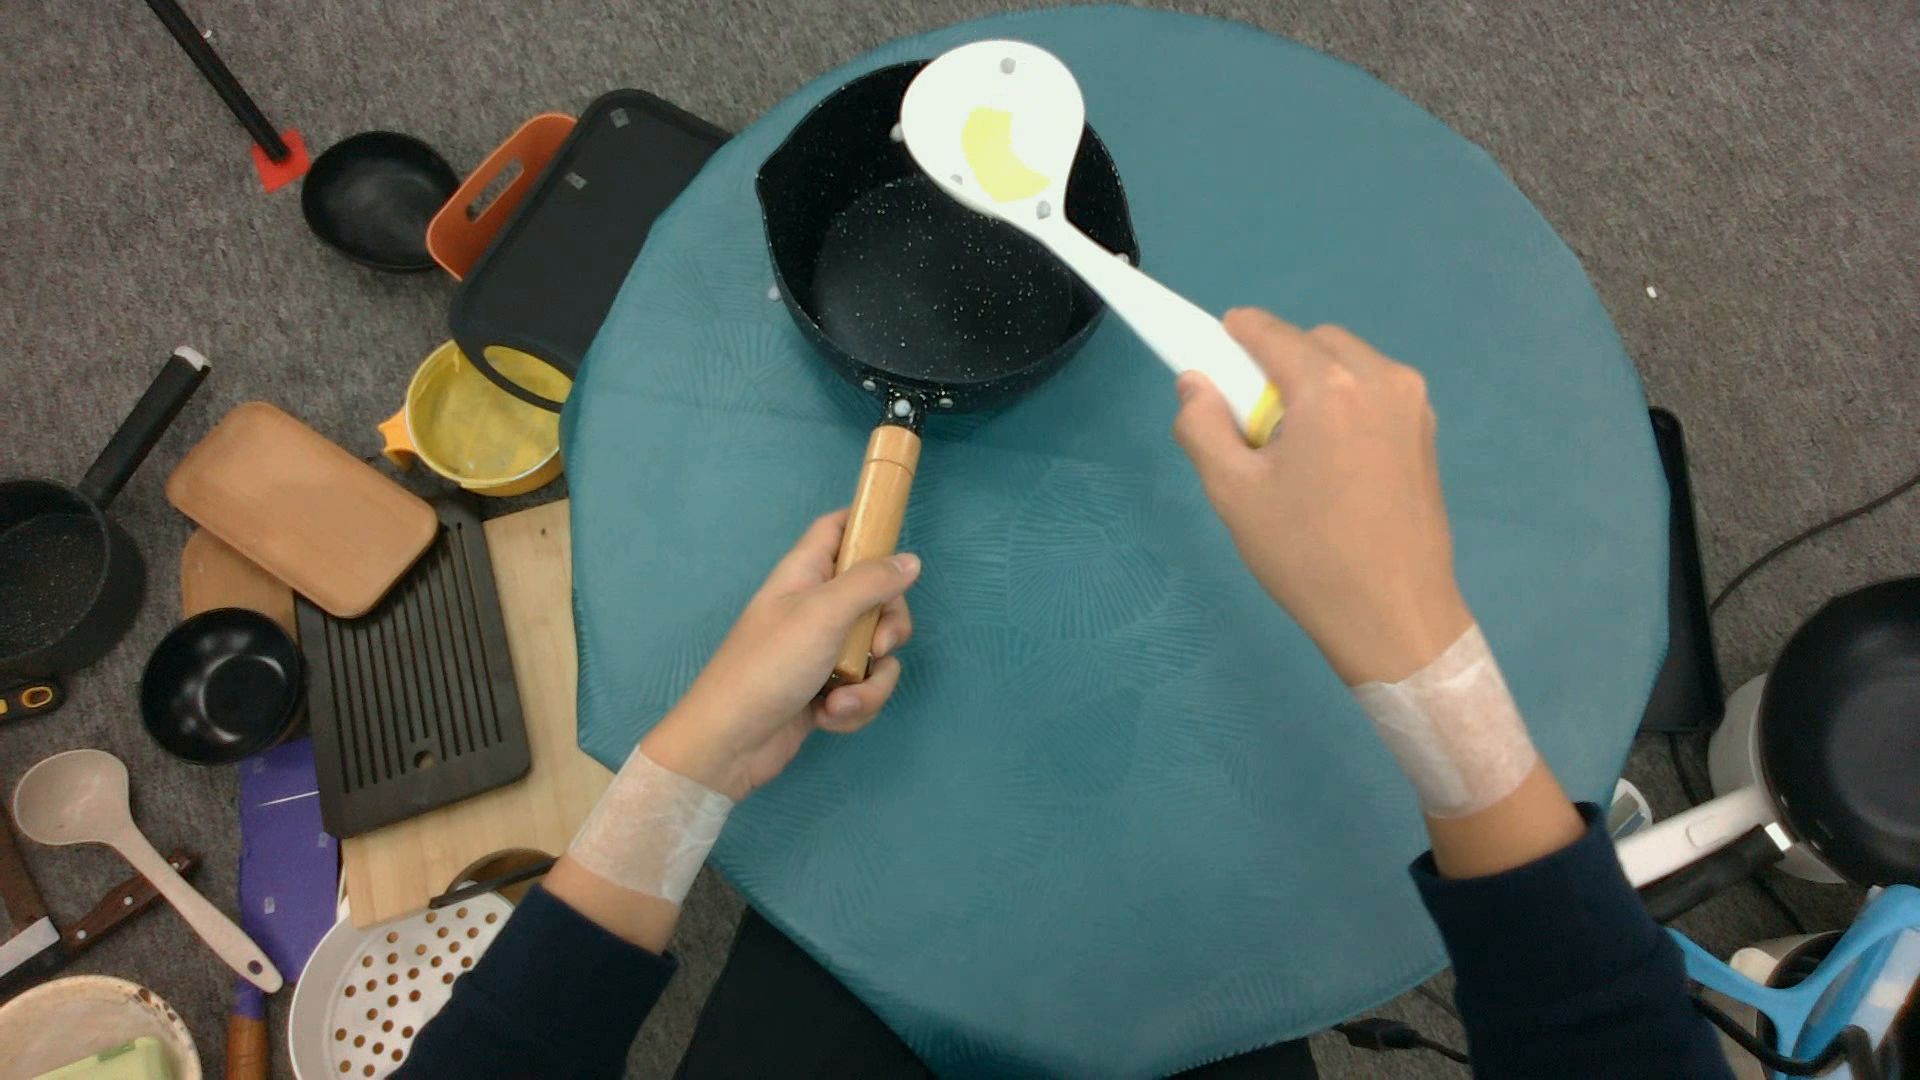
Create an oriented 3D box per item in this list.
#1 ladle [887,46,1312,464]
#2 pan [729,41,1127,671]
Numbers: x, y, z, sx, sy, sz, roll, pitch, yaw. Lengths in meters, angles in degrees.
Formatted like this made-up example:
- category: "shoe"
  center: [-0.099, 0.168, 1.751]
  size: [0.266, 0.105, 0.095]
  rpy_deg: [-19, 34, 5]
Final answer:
- category: "ladle"
  center: [0.057, -0.138, 0.605]
  size: [0.090, 0.069, 0.293]
  rpy_deg: [-15, 41, -21]
- category: "pan"
  center: [-0.031, -0.089, 0.700]
  size: [0.207, 0.108, 0.344]
  rpy_deg: [11, 72, -1]
